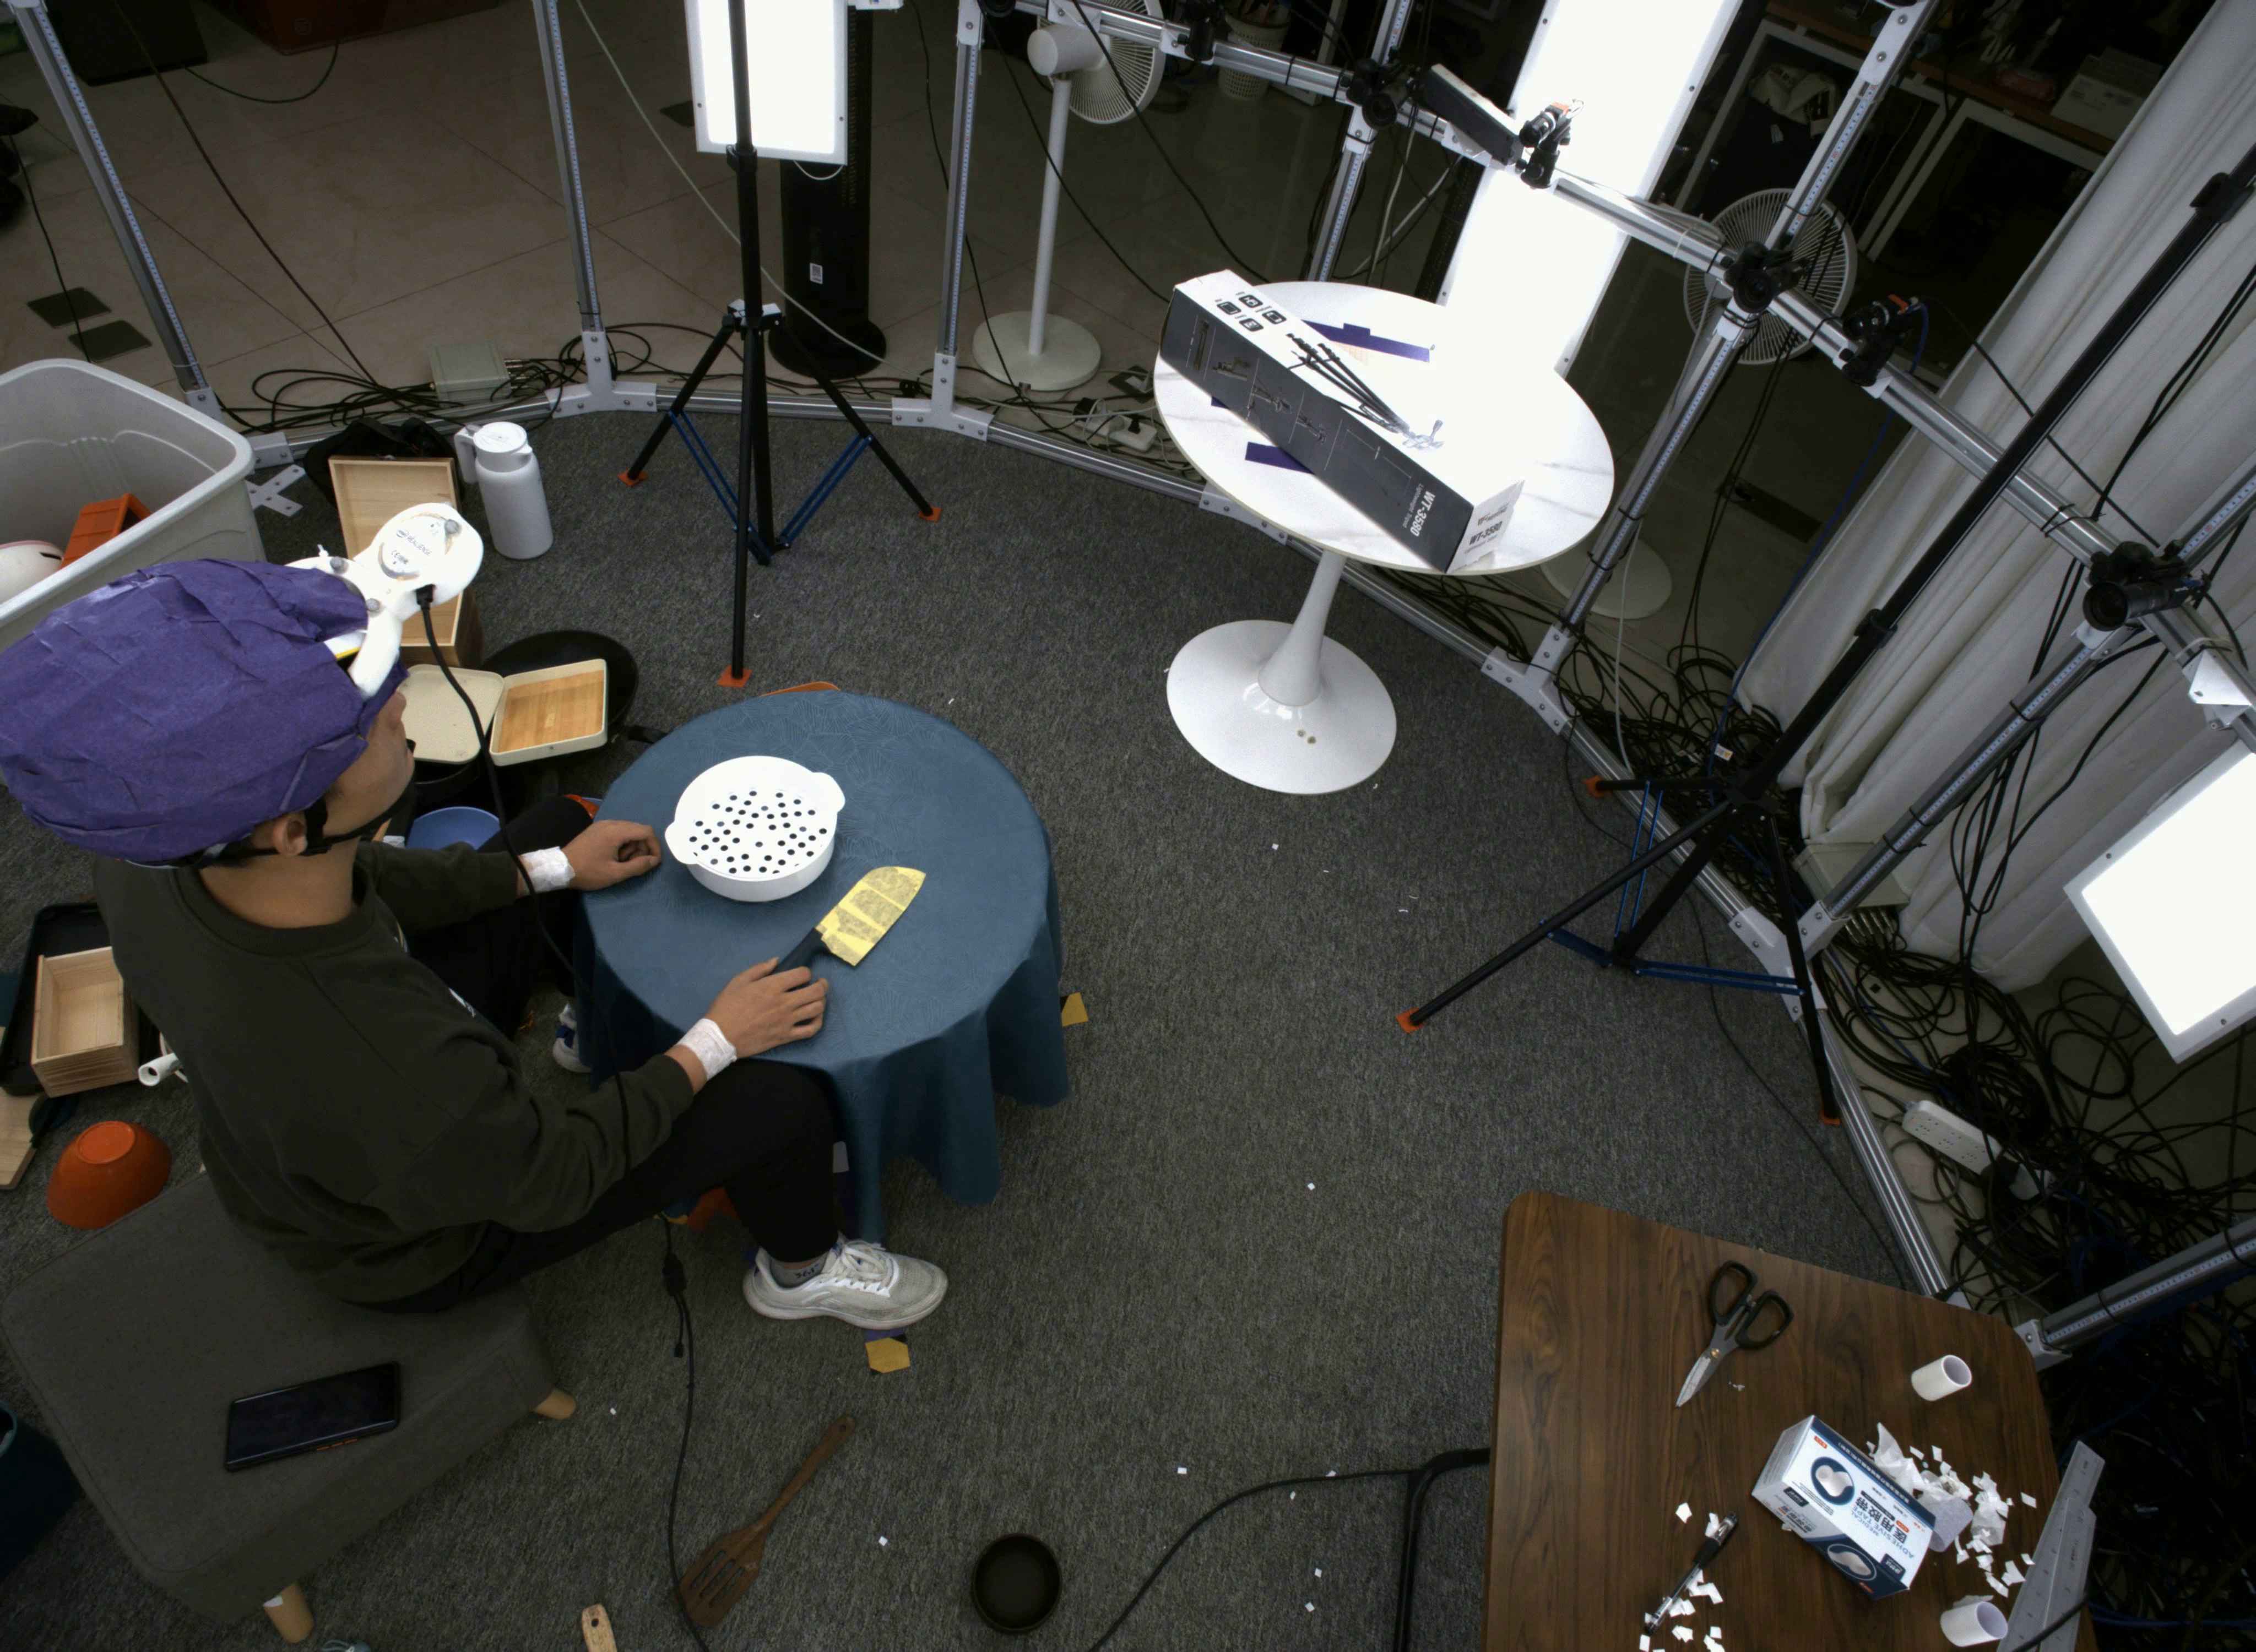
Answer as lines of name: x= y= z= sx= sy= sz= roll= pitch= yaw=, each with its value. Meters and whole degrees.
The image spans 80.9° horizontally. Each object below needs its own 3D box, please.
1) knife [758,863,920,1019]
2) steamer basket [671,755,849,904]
knife: x=-0.359 y=0.140 z=1.639 sx=0.080 sy=0.028 sz=0.289 roll=34 pitch=53 yaw=9
steamer basket: x=-0.472 y=0.004 z=1.677 sx=0.231 sy=0.071 sz=0.197 roll=-23 pitch=61 yaw=-26
